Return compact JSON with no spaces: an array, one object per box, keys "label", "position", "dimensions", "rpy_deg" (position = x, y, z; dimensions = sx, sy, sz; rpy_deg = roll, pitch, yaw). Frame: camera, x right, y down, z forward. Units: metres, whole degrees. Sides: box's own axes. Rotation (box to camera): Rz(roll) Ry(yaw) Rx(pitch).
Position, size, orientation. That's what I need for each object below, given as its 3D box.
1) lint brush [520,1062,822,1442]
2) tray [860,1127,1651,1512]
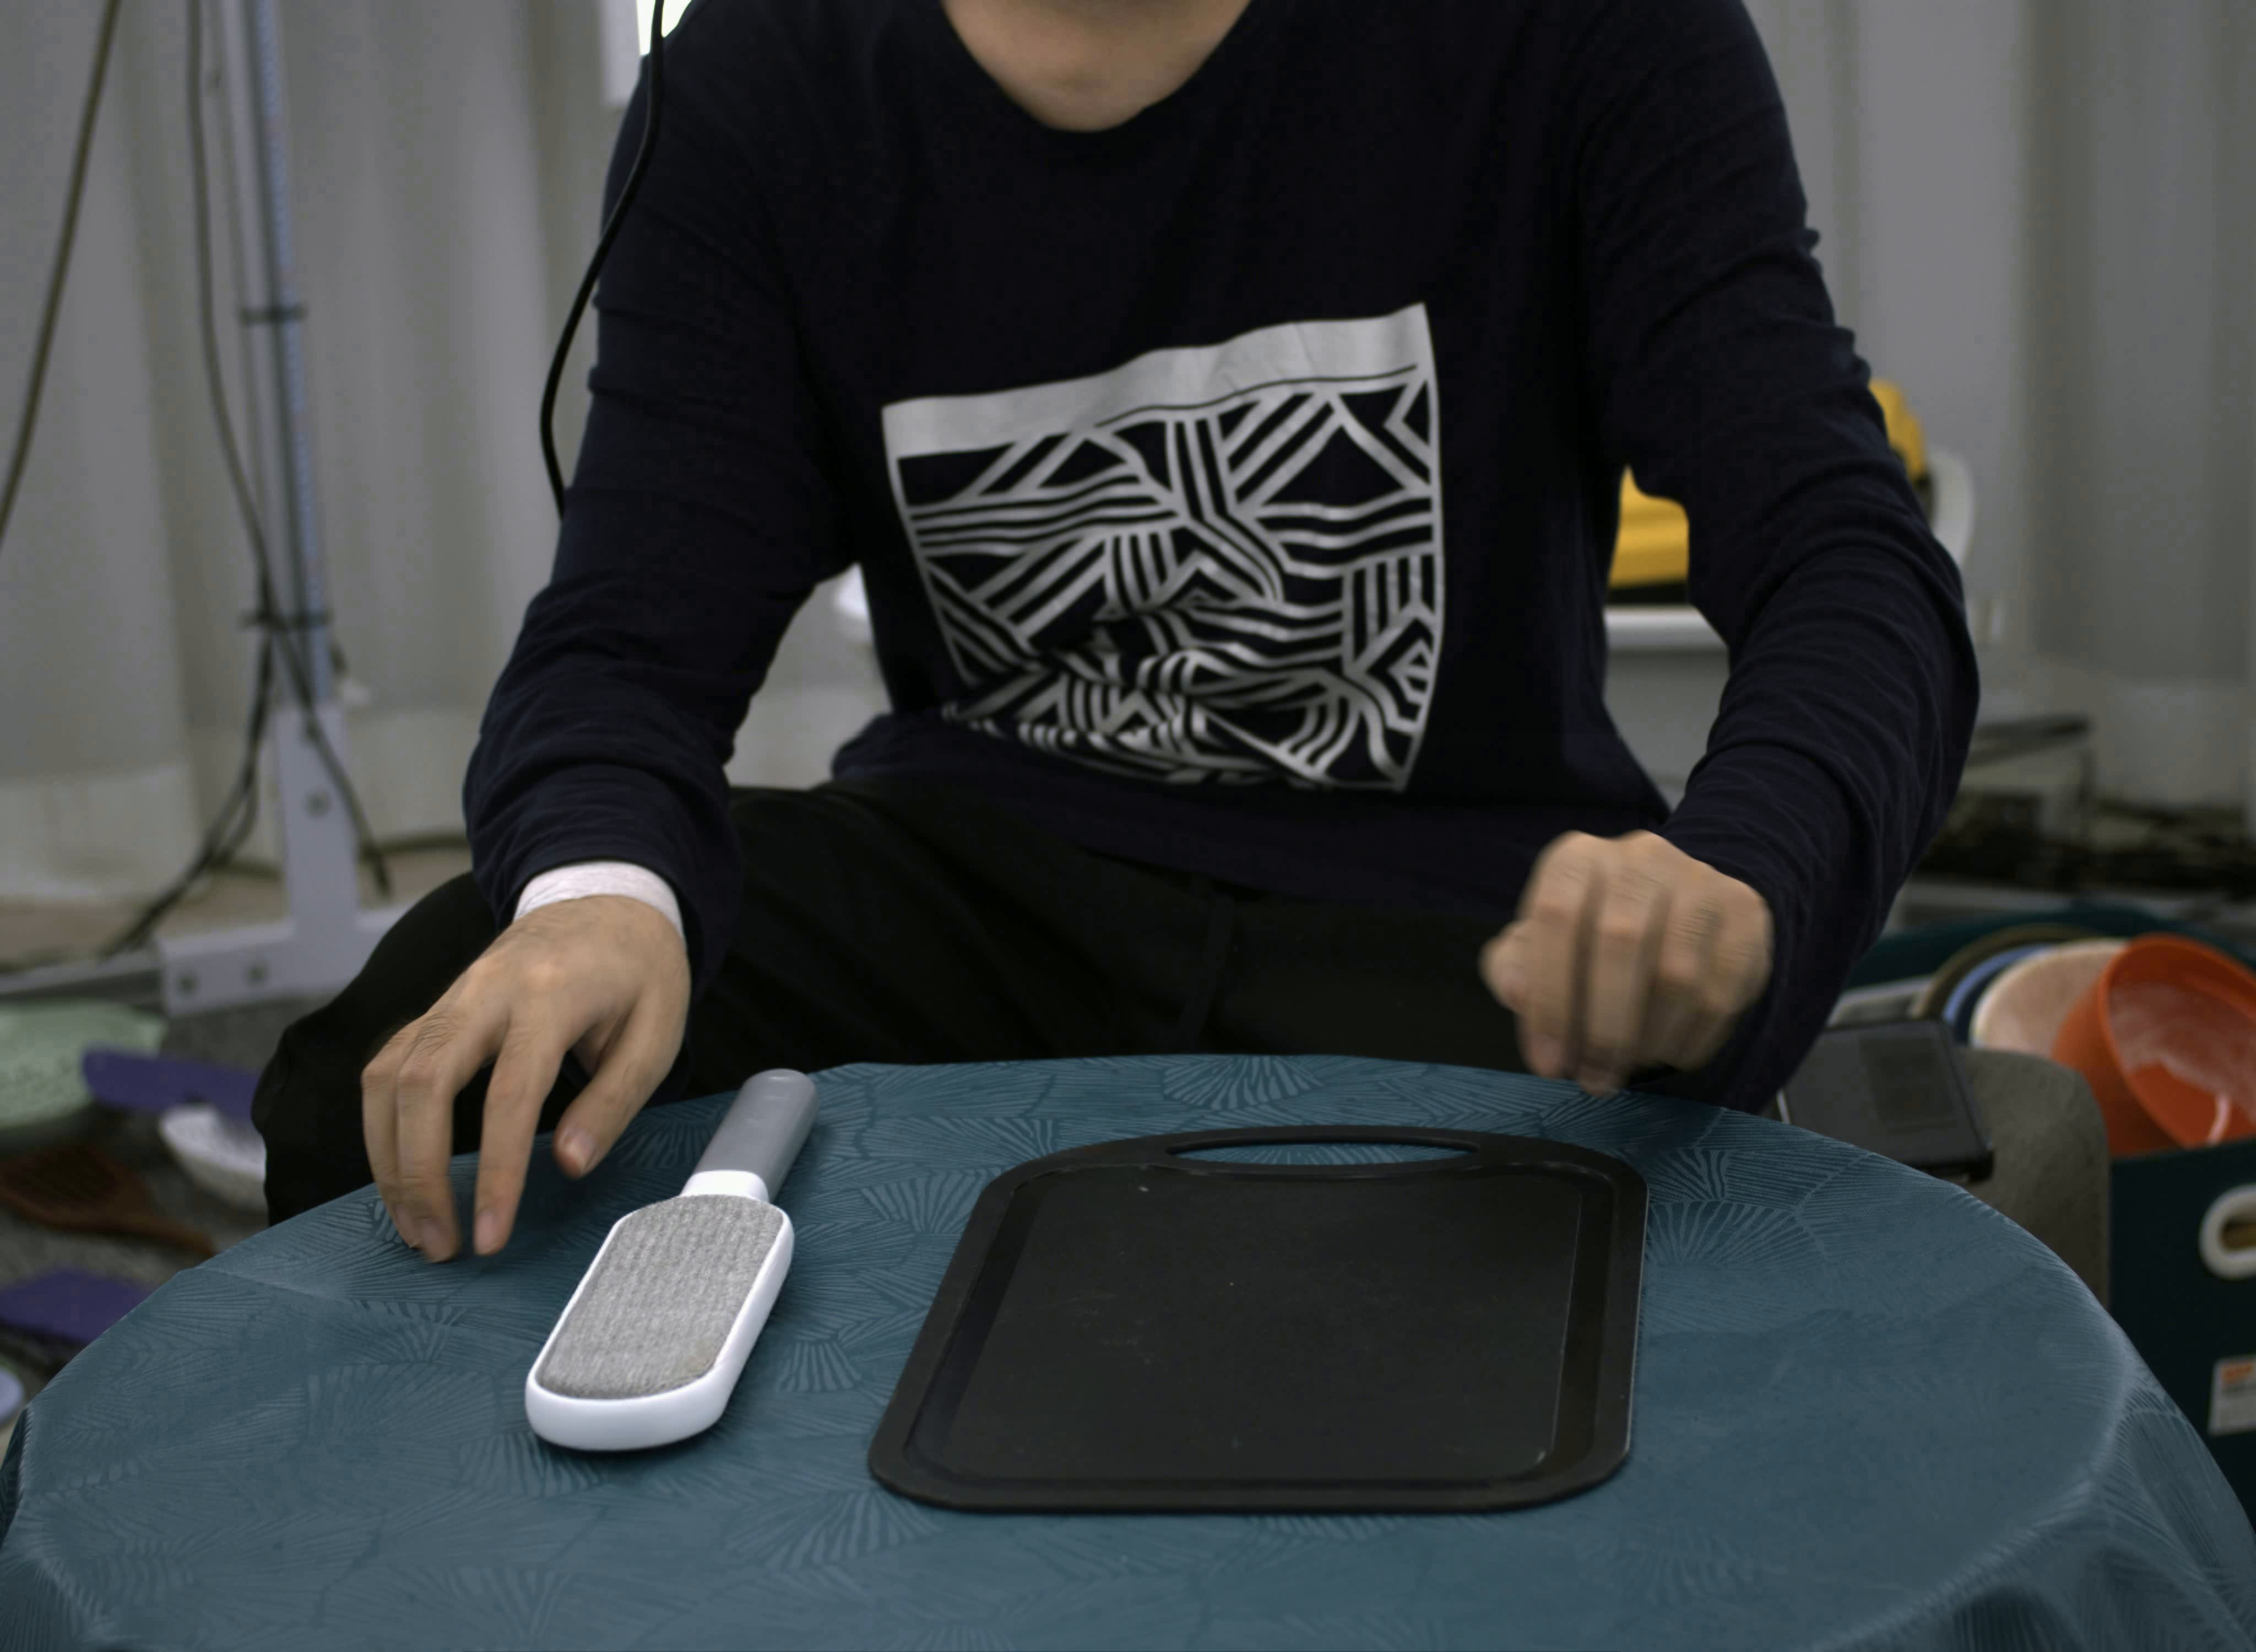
[{"label":"lint brush","position":[-0.127,0.124,1.653],"dimensions":[0.060,0.021,0.310],"rpy_deg":[-6,14,8]},{"label":"tray","position":[0.044,0.138,1.608],"dimensions":[0.210,0.010,0.327],"rpy_deg":[0,15,8]}]
